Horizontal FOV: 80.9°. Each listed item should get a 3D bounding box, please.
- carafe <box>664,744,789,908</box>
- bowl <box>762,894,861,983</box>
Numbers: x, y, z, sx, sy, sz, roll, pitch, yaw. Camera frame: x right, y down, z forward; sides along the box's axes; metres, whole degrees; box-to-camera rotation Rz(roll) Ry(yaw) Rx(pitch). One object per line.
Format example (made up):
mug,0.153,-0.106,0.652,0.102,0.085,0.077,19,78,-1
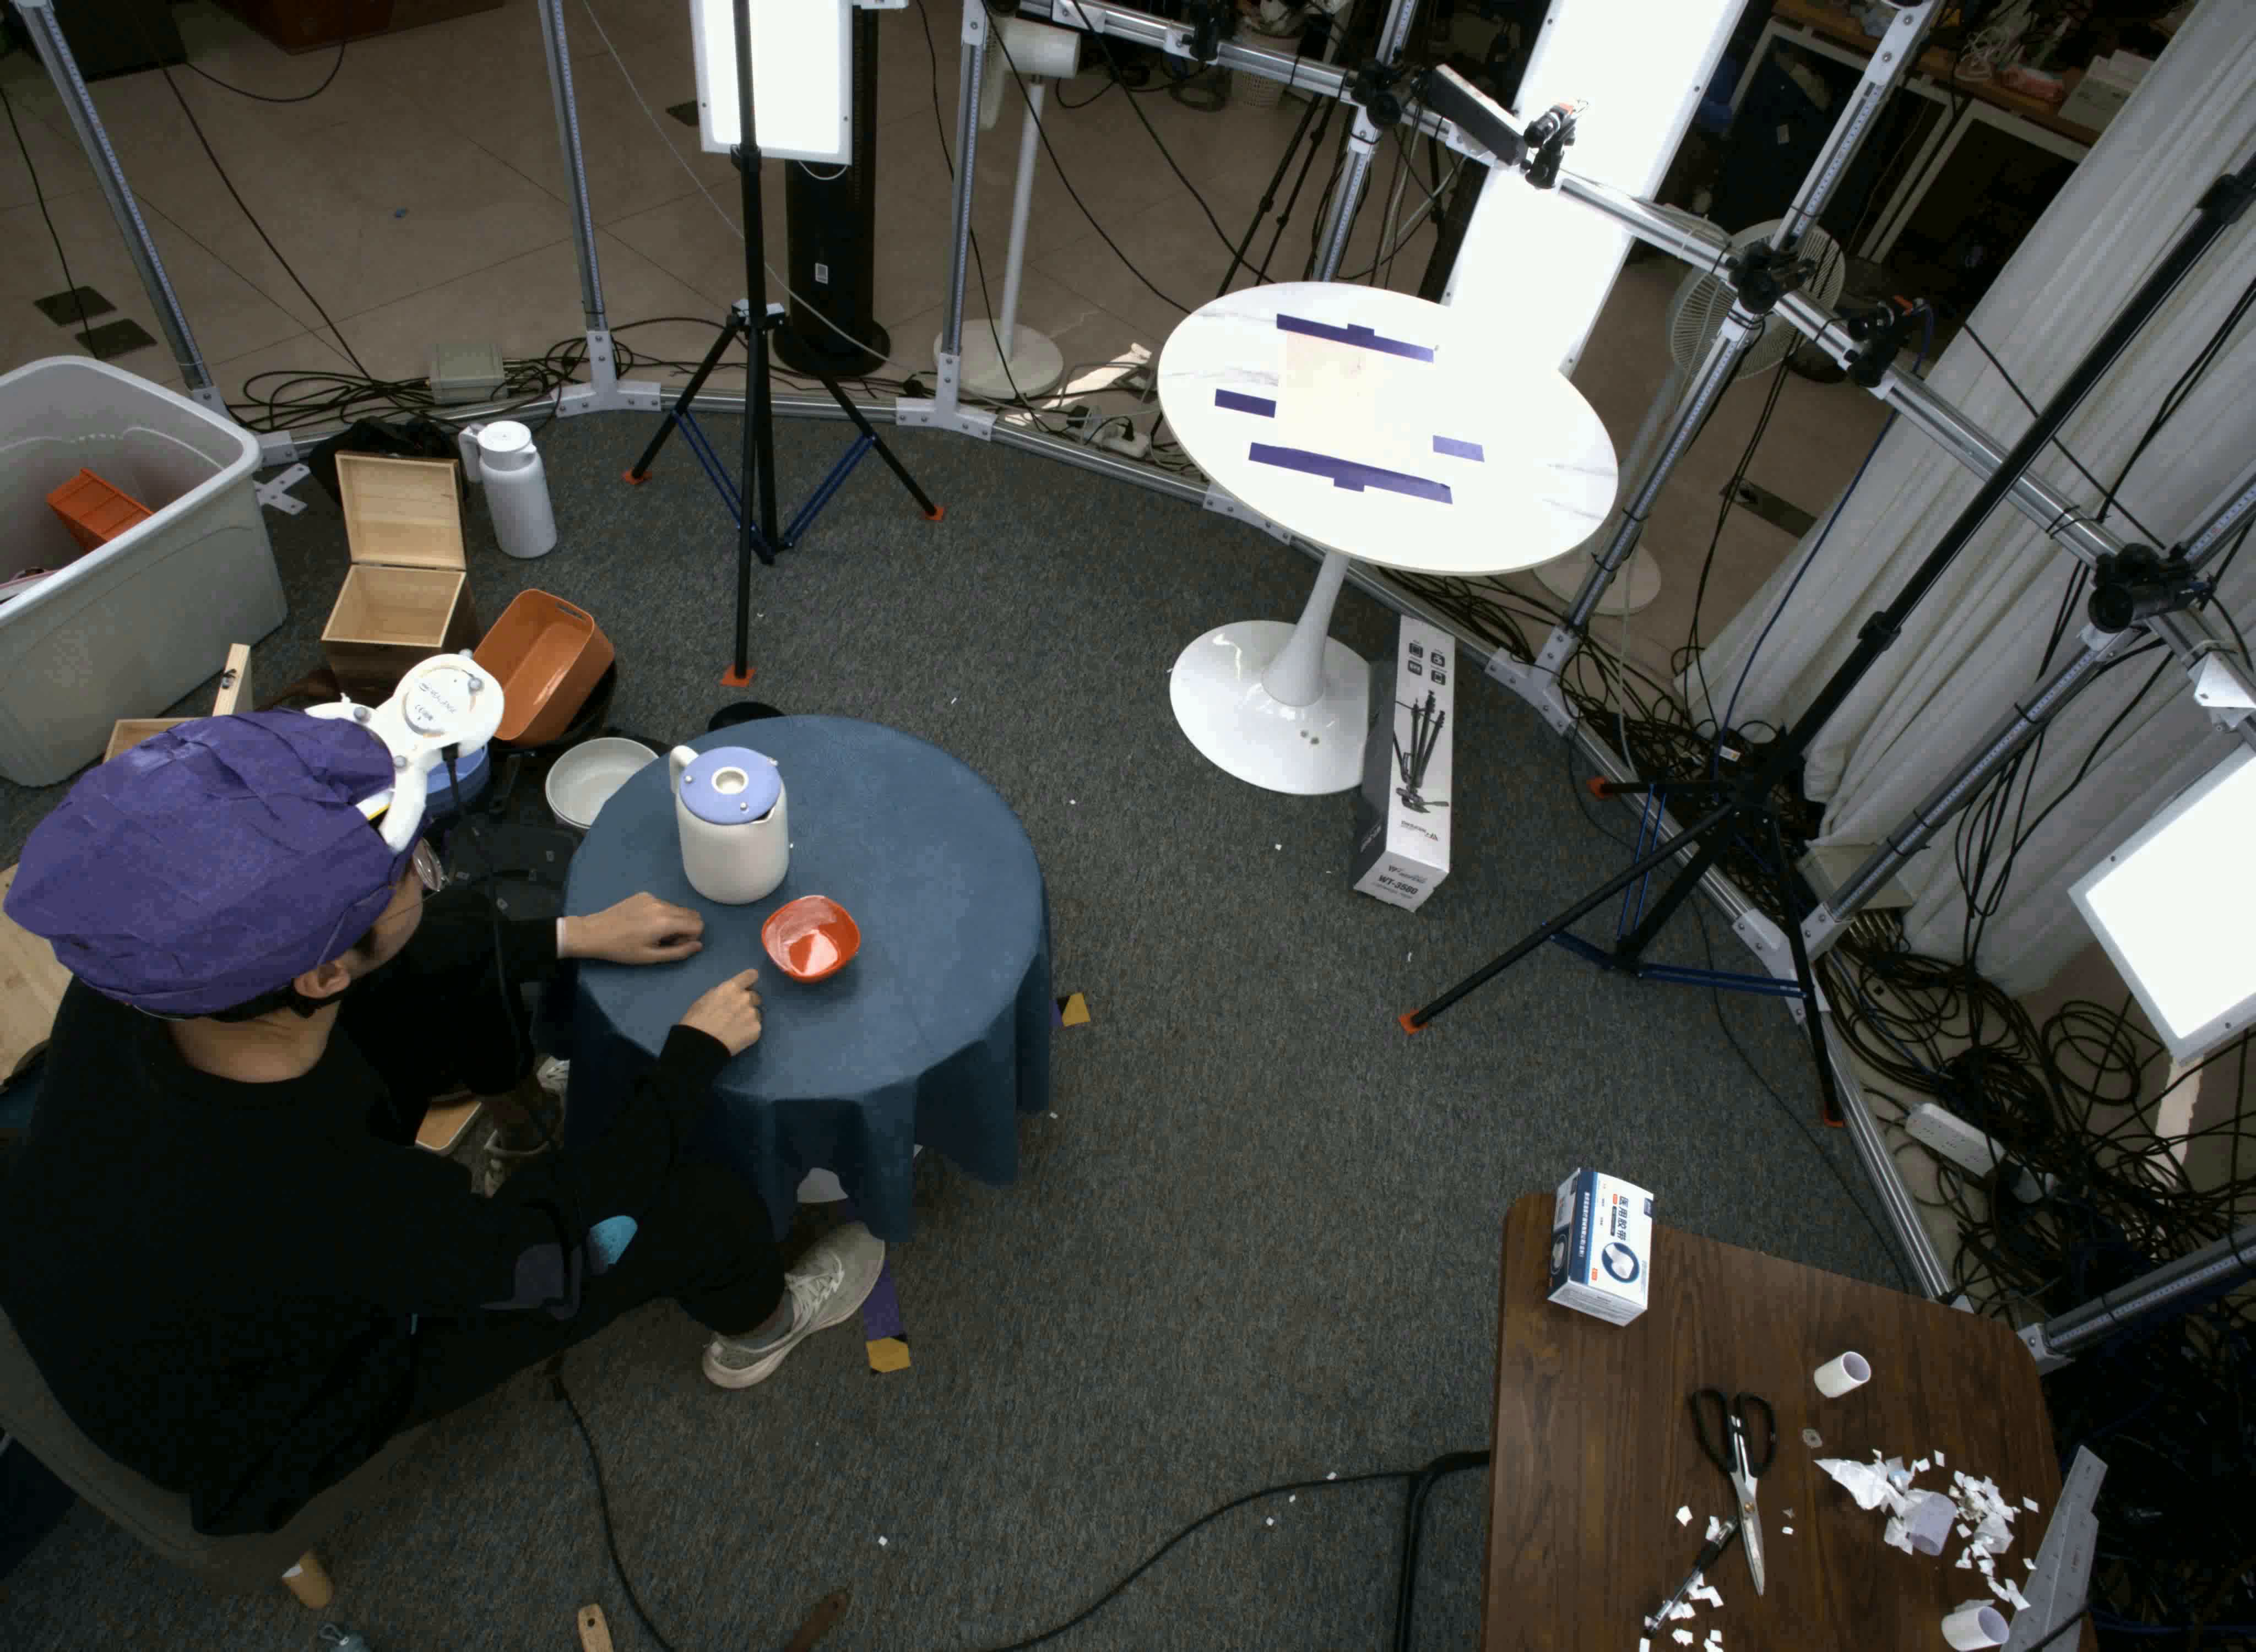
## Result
carafe,-0.509,-0.014,1.608,0.187,0.187,0.132,35,52,17
bowl,-0.390,0.145,1.596,0.119,0.052,0.117,10,52,-11
